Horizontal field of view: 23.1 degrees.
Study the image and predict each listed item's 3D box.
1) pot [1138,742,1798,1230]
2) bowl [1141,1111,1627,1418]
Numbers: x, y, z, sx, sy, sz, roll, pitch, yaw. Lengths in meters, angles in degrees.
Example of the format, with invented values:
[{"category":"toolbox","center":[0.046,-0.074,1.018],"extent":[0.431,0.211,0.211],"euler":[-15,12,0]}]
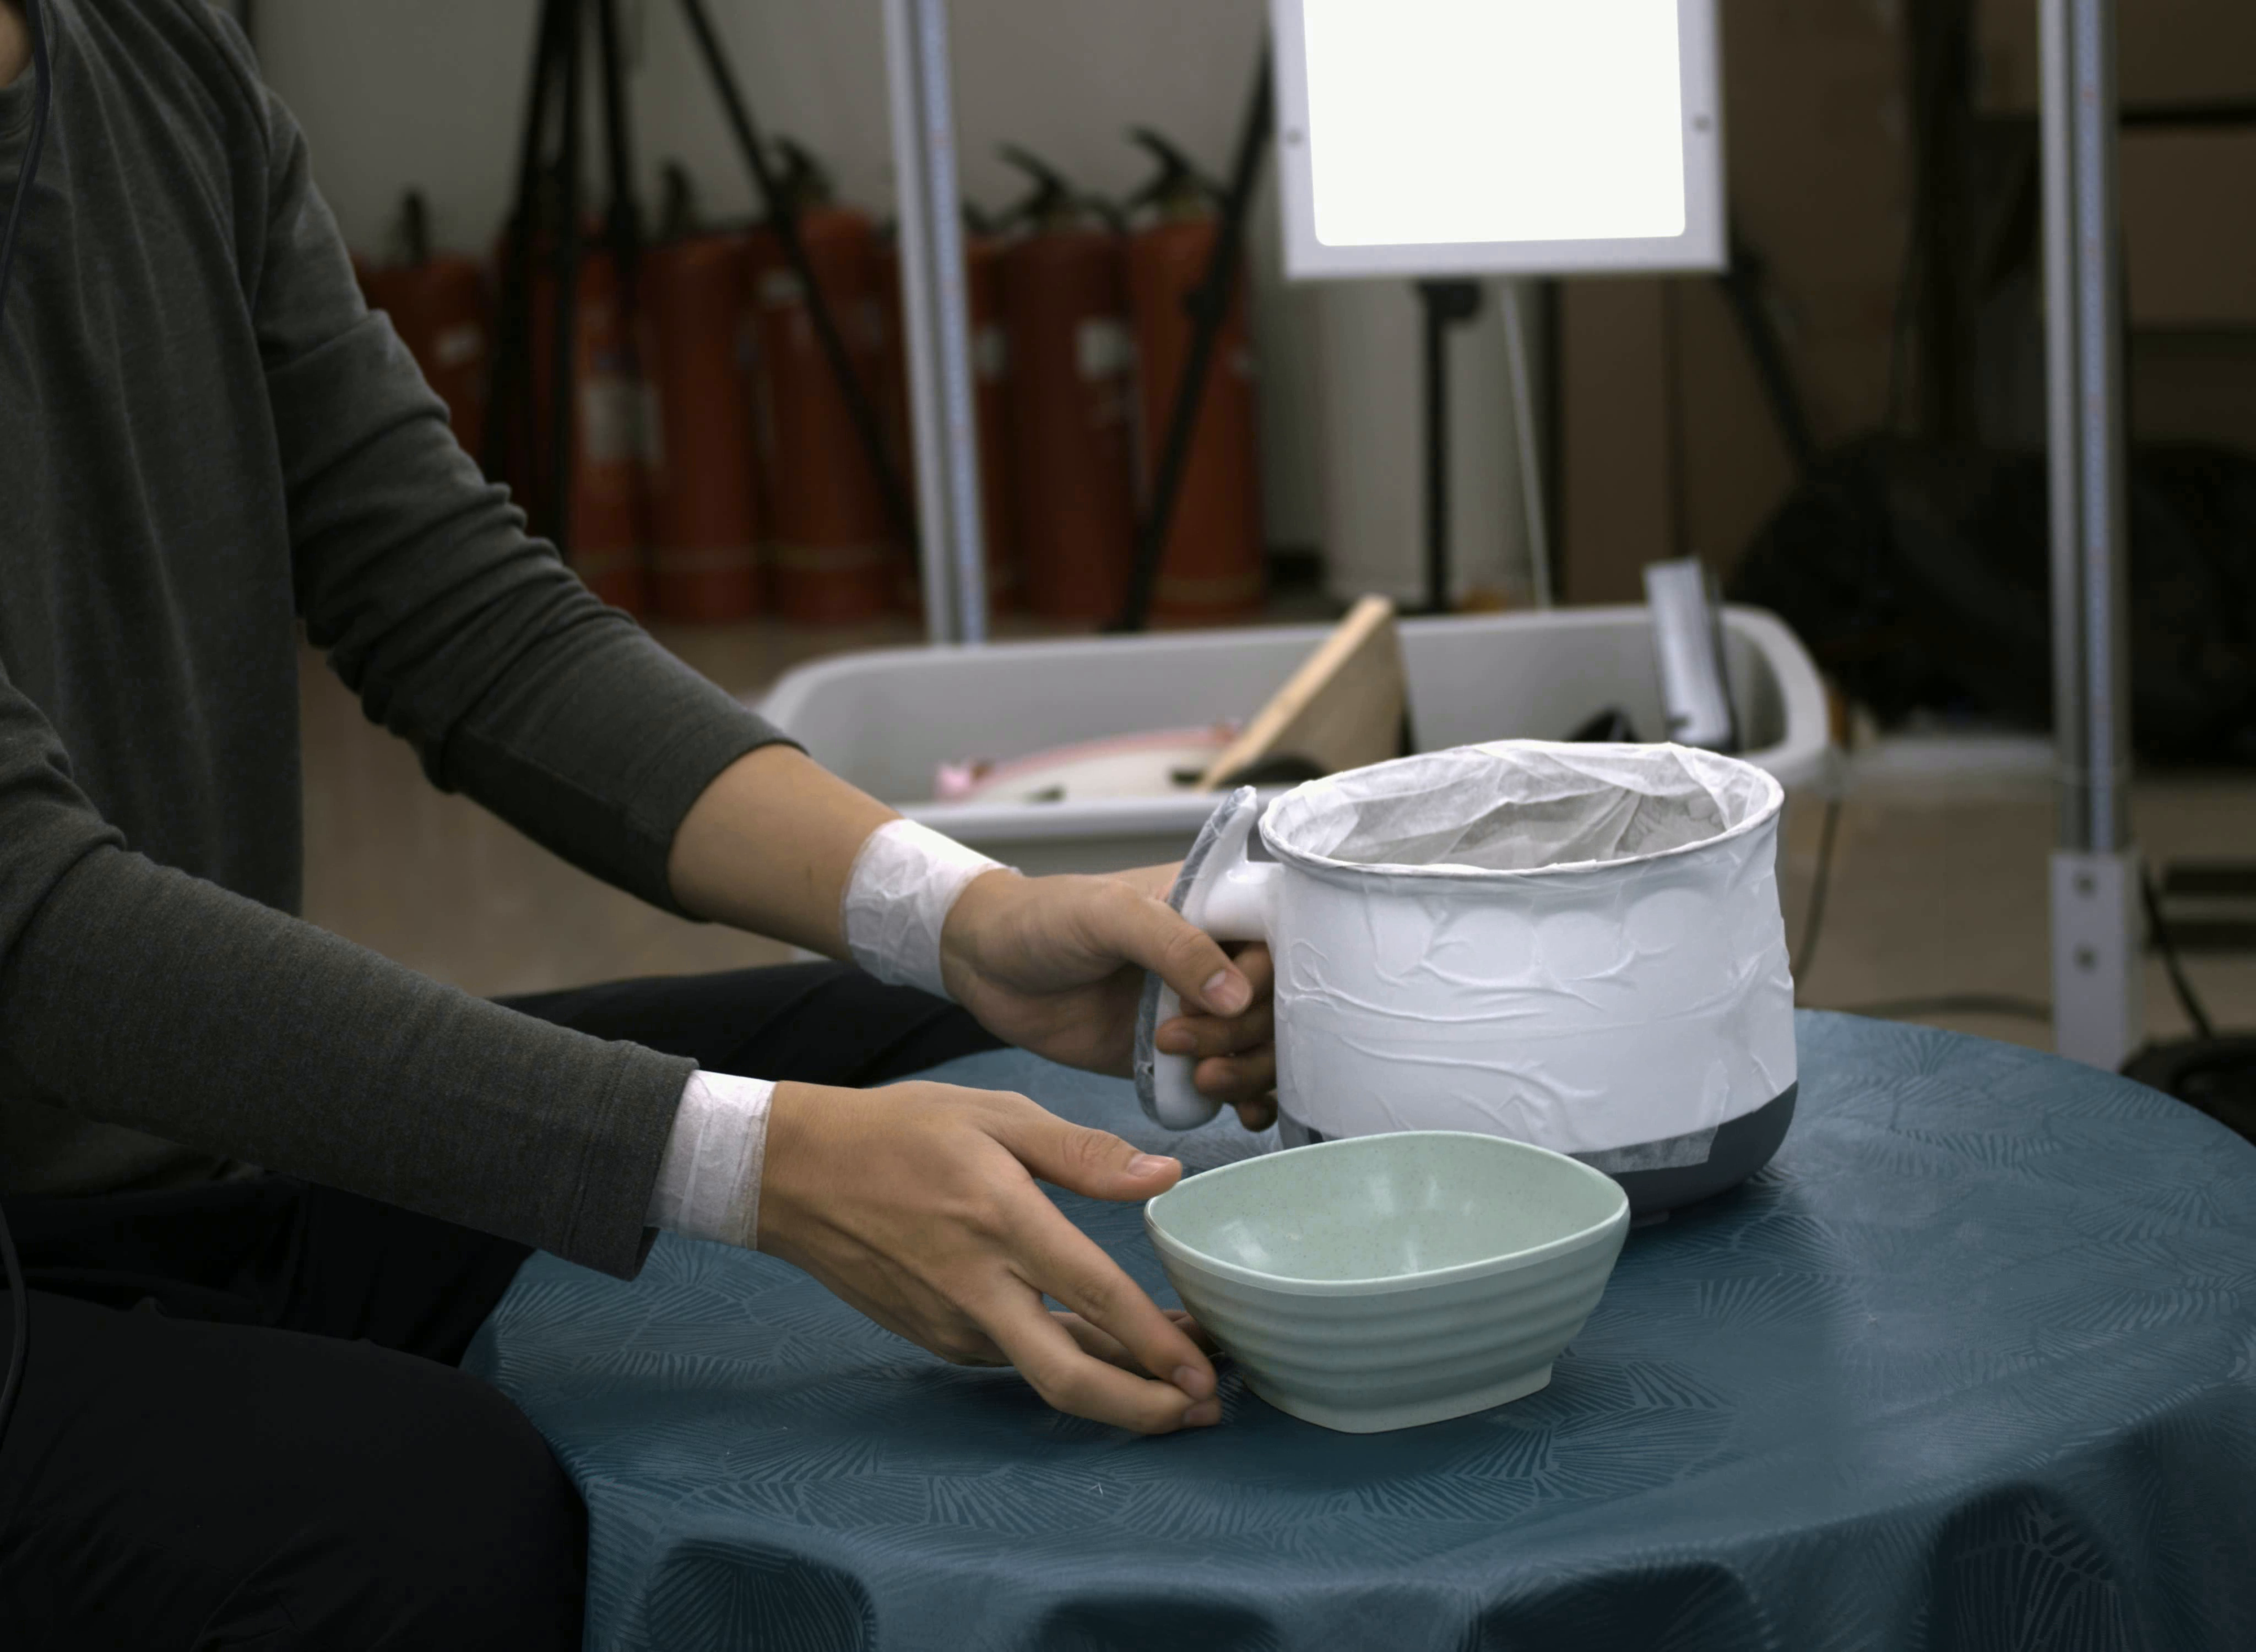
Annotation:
[{"category":"pot","center":[0.112,0.054,1.871],"extent":[0.237,0.137,0.175],"euler":[0,14,22]},{"category":"bowl","center":[0.077,0.138,1.686],"extent":[0.151,0.059,0.151],"euler":[1,16,-2]}]
